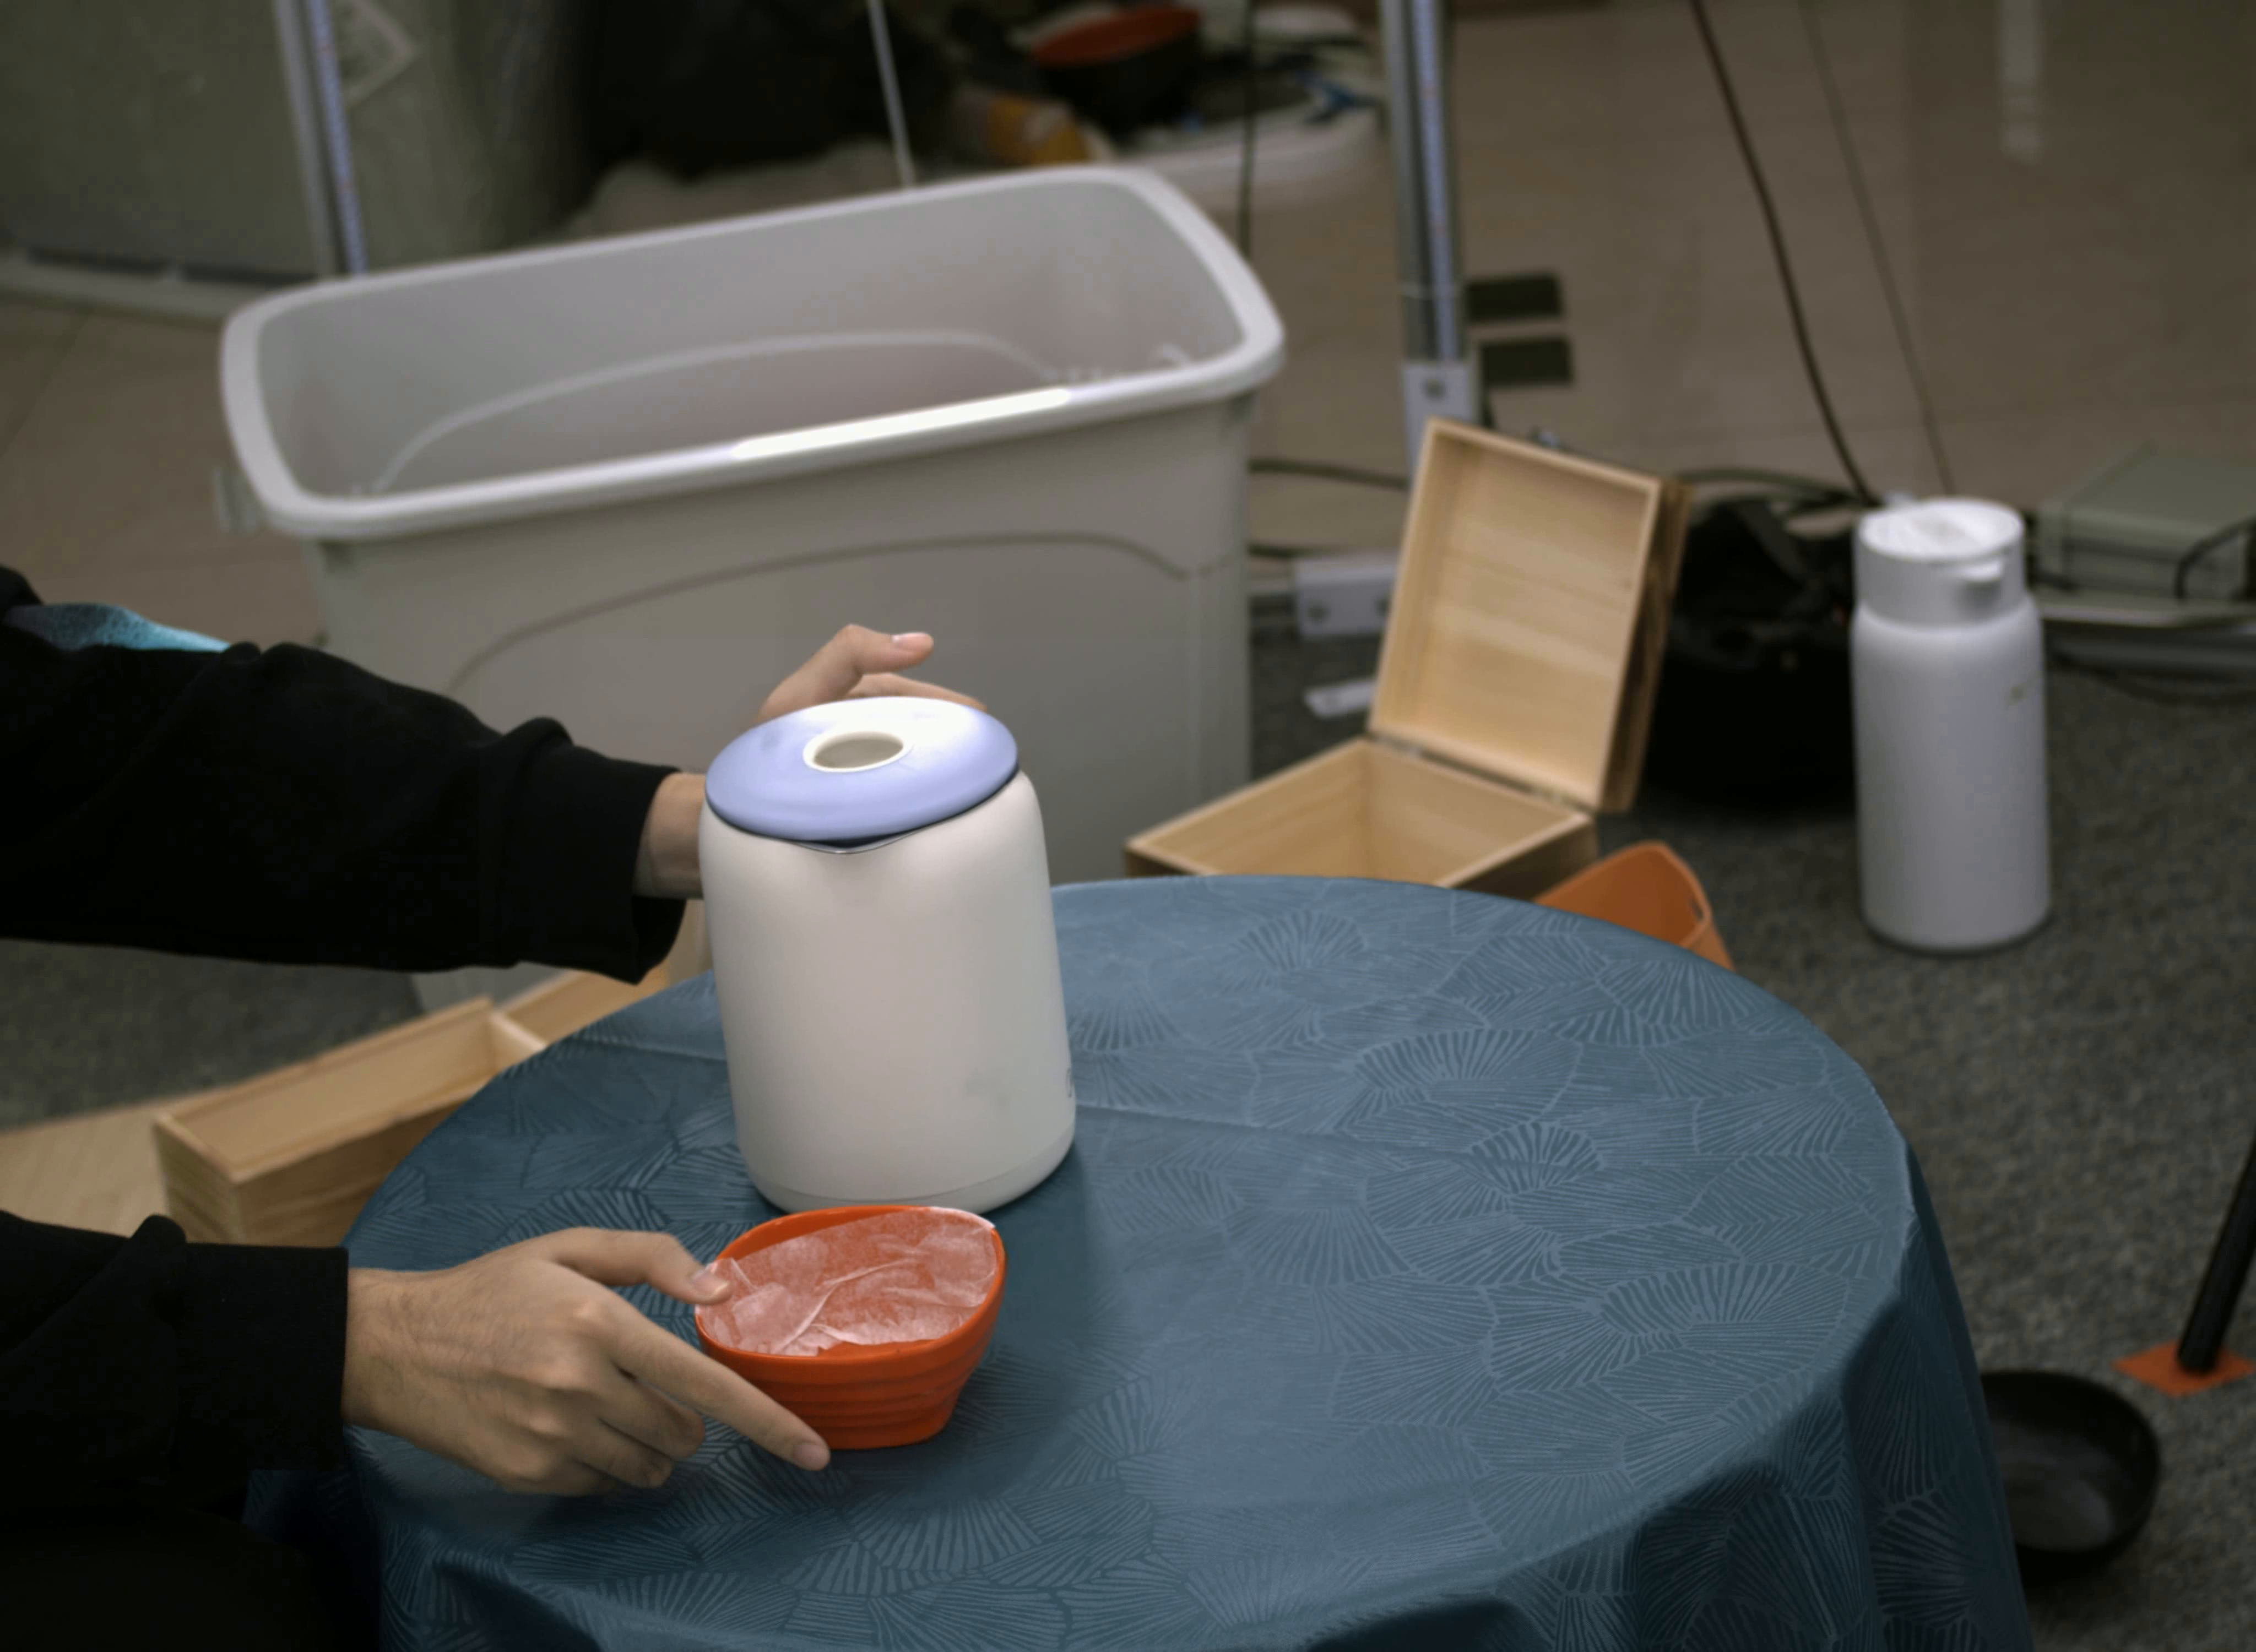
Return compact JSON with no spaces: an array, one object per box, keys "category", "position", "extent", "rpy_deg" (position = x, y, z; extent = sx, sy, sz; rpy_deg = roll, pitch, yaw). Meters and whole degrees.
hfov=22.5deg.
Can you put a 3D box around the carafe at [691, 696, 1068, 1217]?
[{"category":"carafe","position":[-0.094,0.042,2.171],"extent":[0.132,0.185,0.188],"rpy_deg":[-5,23,1]}]

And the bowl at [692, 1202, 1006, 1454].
[{"category":"bowl","position":[-0.097,0.183,2.015],"extent":[0.119,0.052,0.117],"rpy_deg":[-3,29,2]}]
